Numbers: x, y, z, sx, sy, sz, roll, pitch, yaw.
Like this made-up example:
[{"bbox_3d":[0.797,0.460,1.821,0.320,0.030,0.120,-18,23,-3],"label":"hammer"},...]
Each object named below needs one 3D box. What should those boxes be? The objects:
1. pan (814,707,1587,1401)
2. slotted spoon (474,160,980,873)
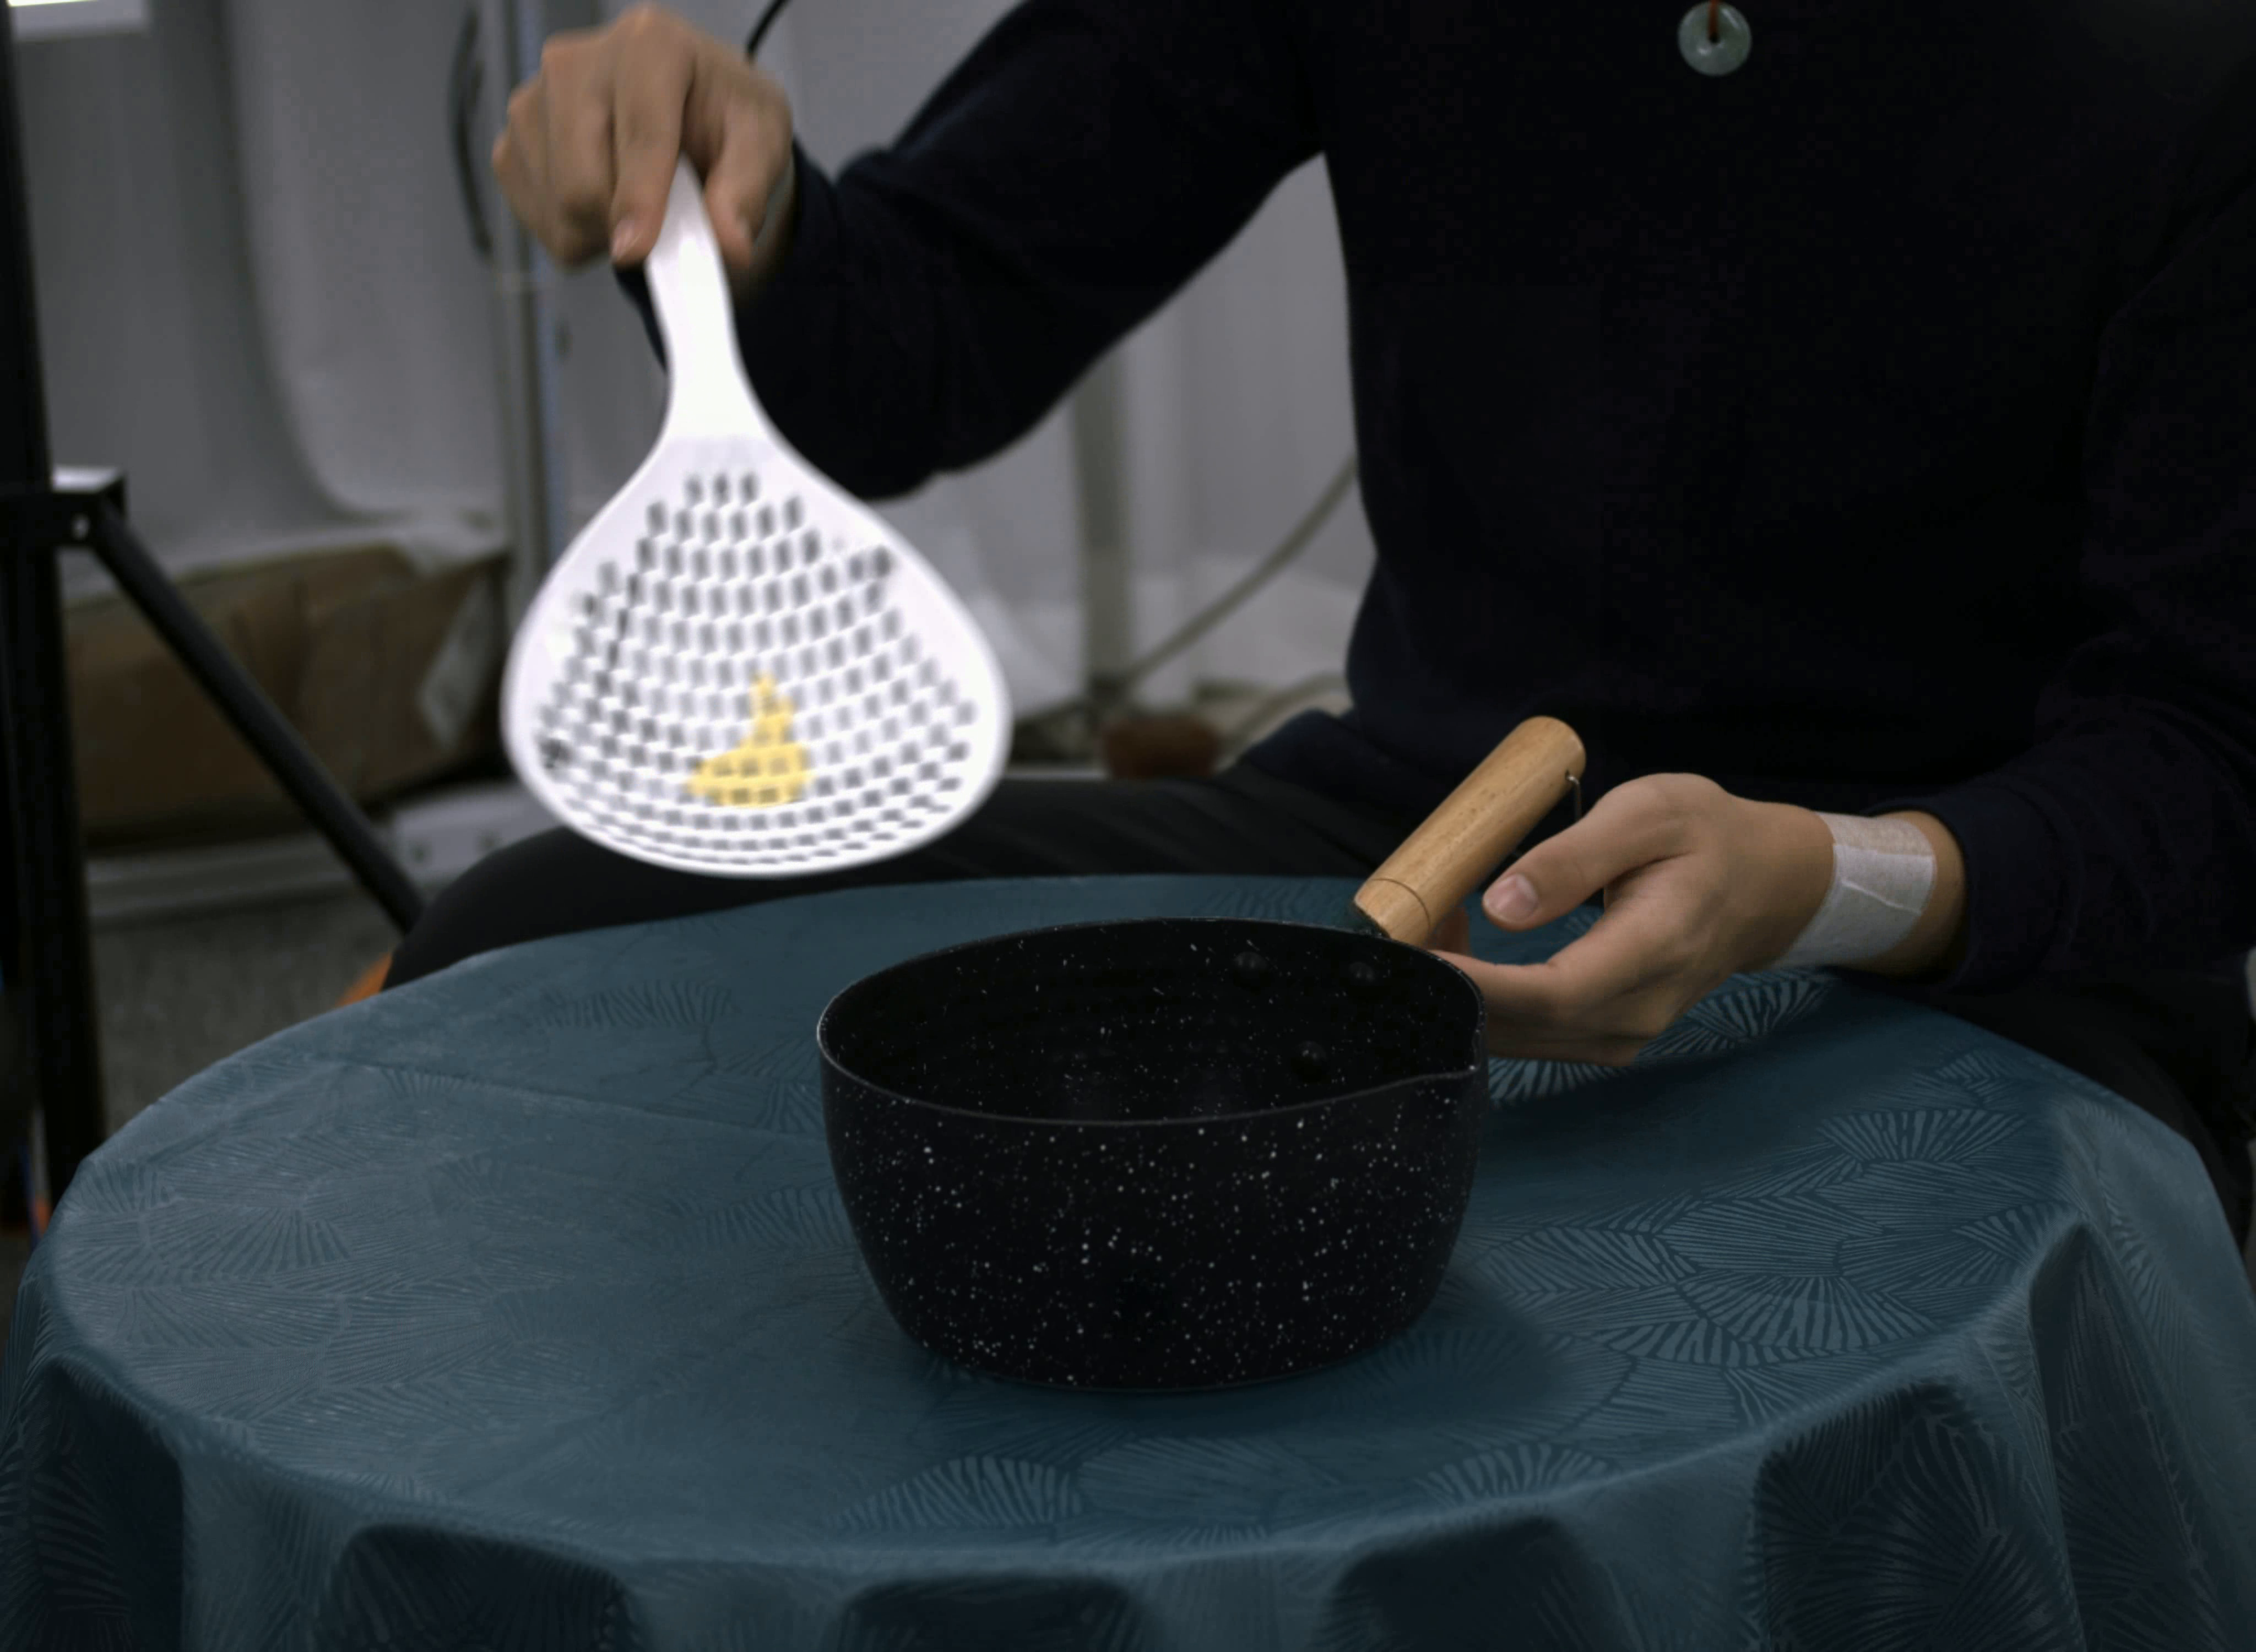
[{"bbox_3d":[0.047,0.060,1.522,0.211,0.108,0.337,5,19,30],"label":"pan"},{"bbox_3d":[-0.126,-0.100,1.529,0.135,0.050,0.353,-5,45,-7],"label":"slotted spoon"}]
